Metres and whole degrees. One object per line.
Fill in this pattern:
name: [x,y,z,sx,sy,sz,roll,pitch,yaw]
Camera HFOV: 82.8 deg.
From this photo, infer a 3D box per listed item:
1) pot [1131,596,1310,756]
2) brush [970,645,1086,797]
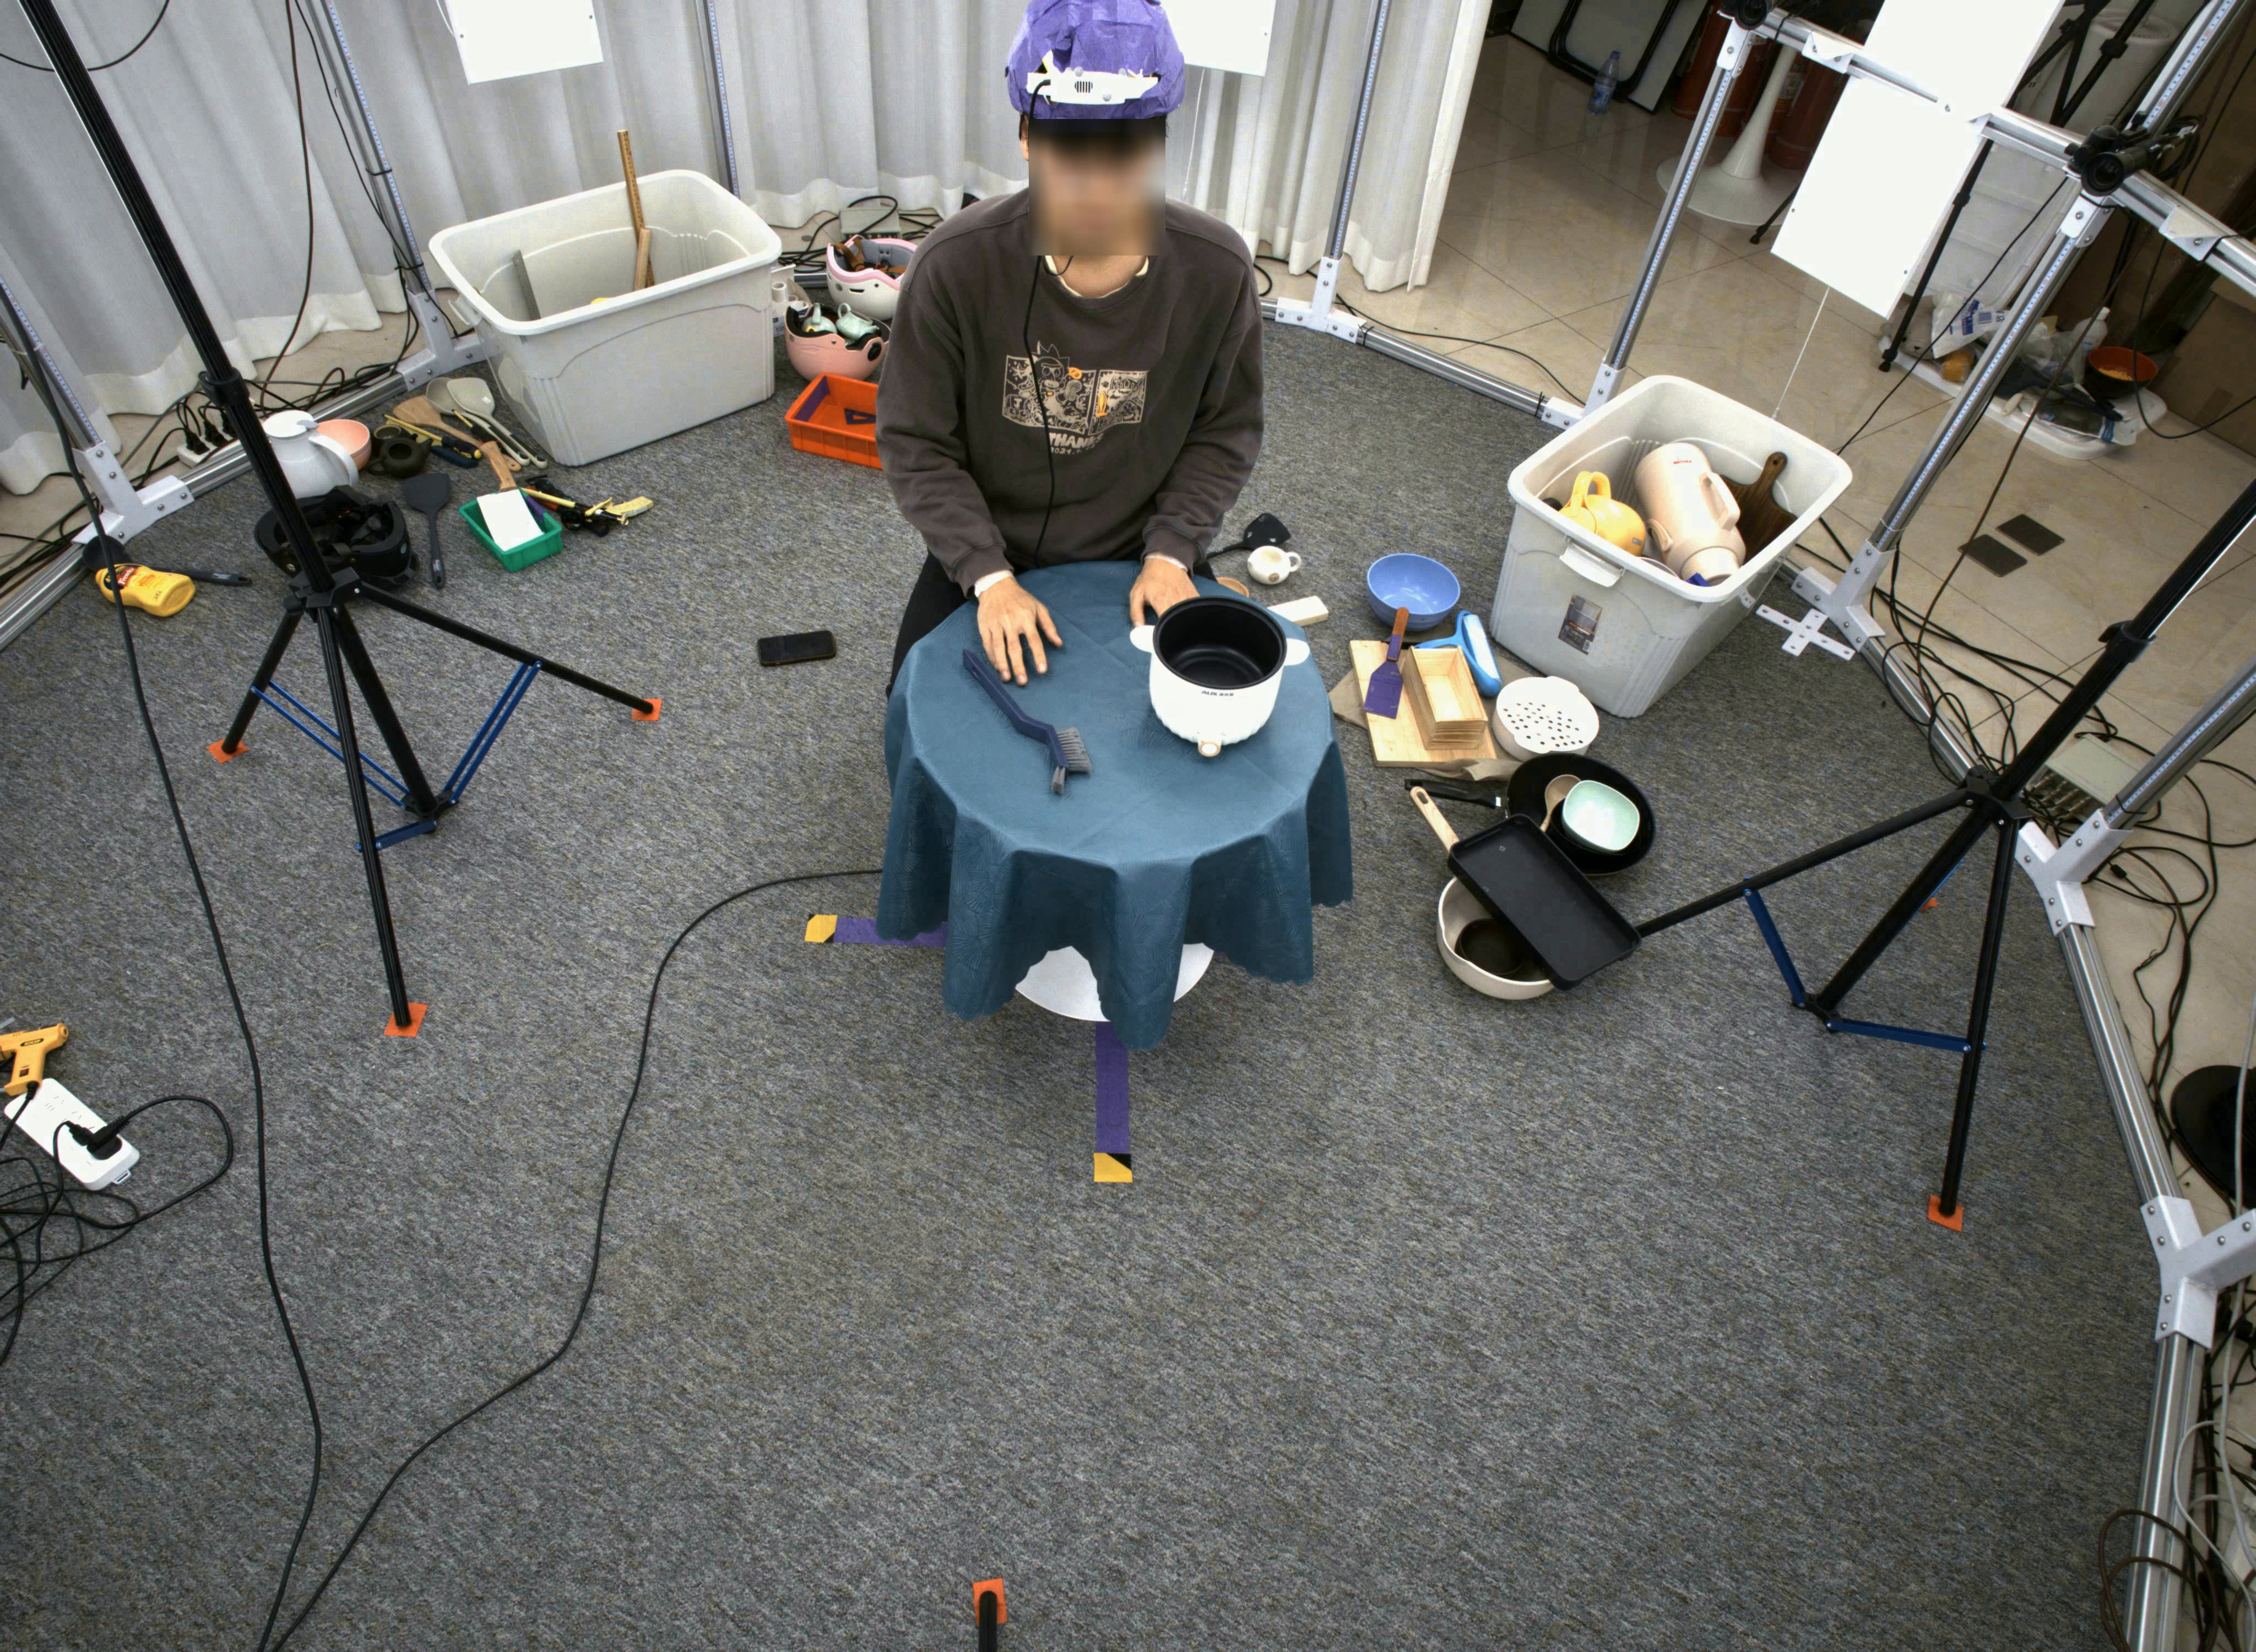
pot: [0.121,-0.202,1.759,0.240,0.139,0.195,4,46,1]
brush: [-0.156,-0.151,1.767,0.096,0.033,0.277,-32,59,-27]
